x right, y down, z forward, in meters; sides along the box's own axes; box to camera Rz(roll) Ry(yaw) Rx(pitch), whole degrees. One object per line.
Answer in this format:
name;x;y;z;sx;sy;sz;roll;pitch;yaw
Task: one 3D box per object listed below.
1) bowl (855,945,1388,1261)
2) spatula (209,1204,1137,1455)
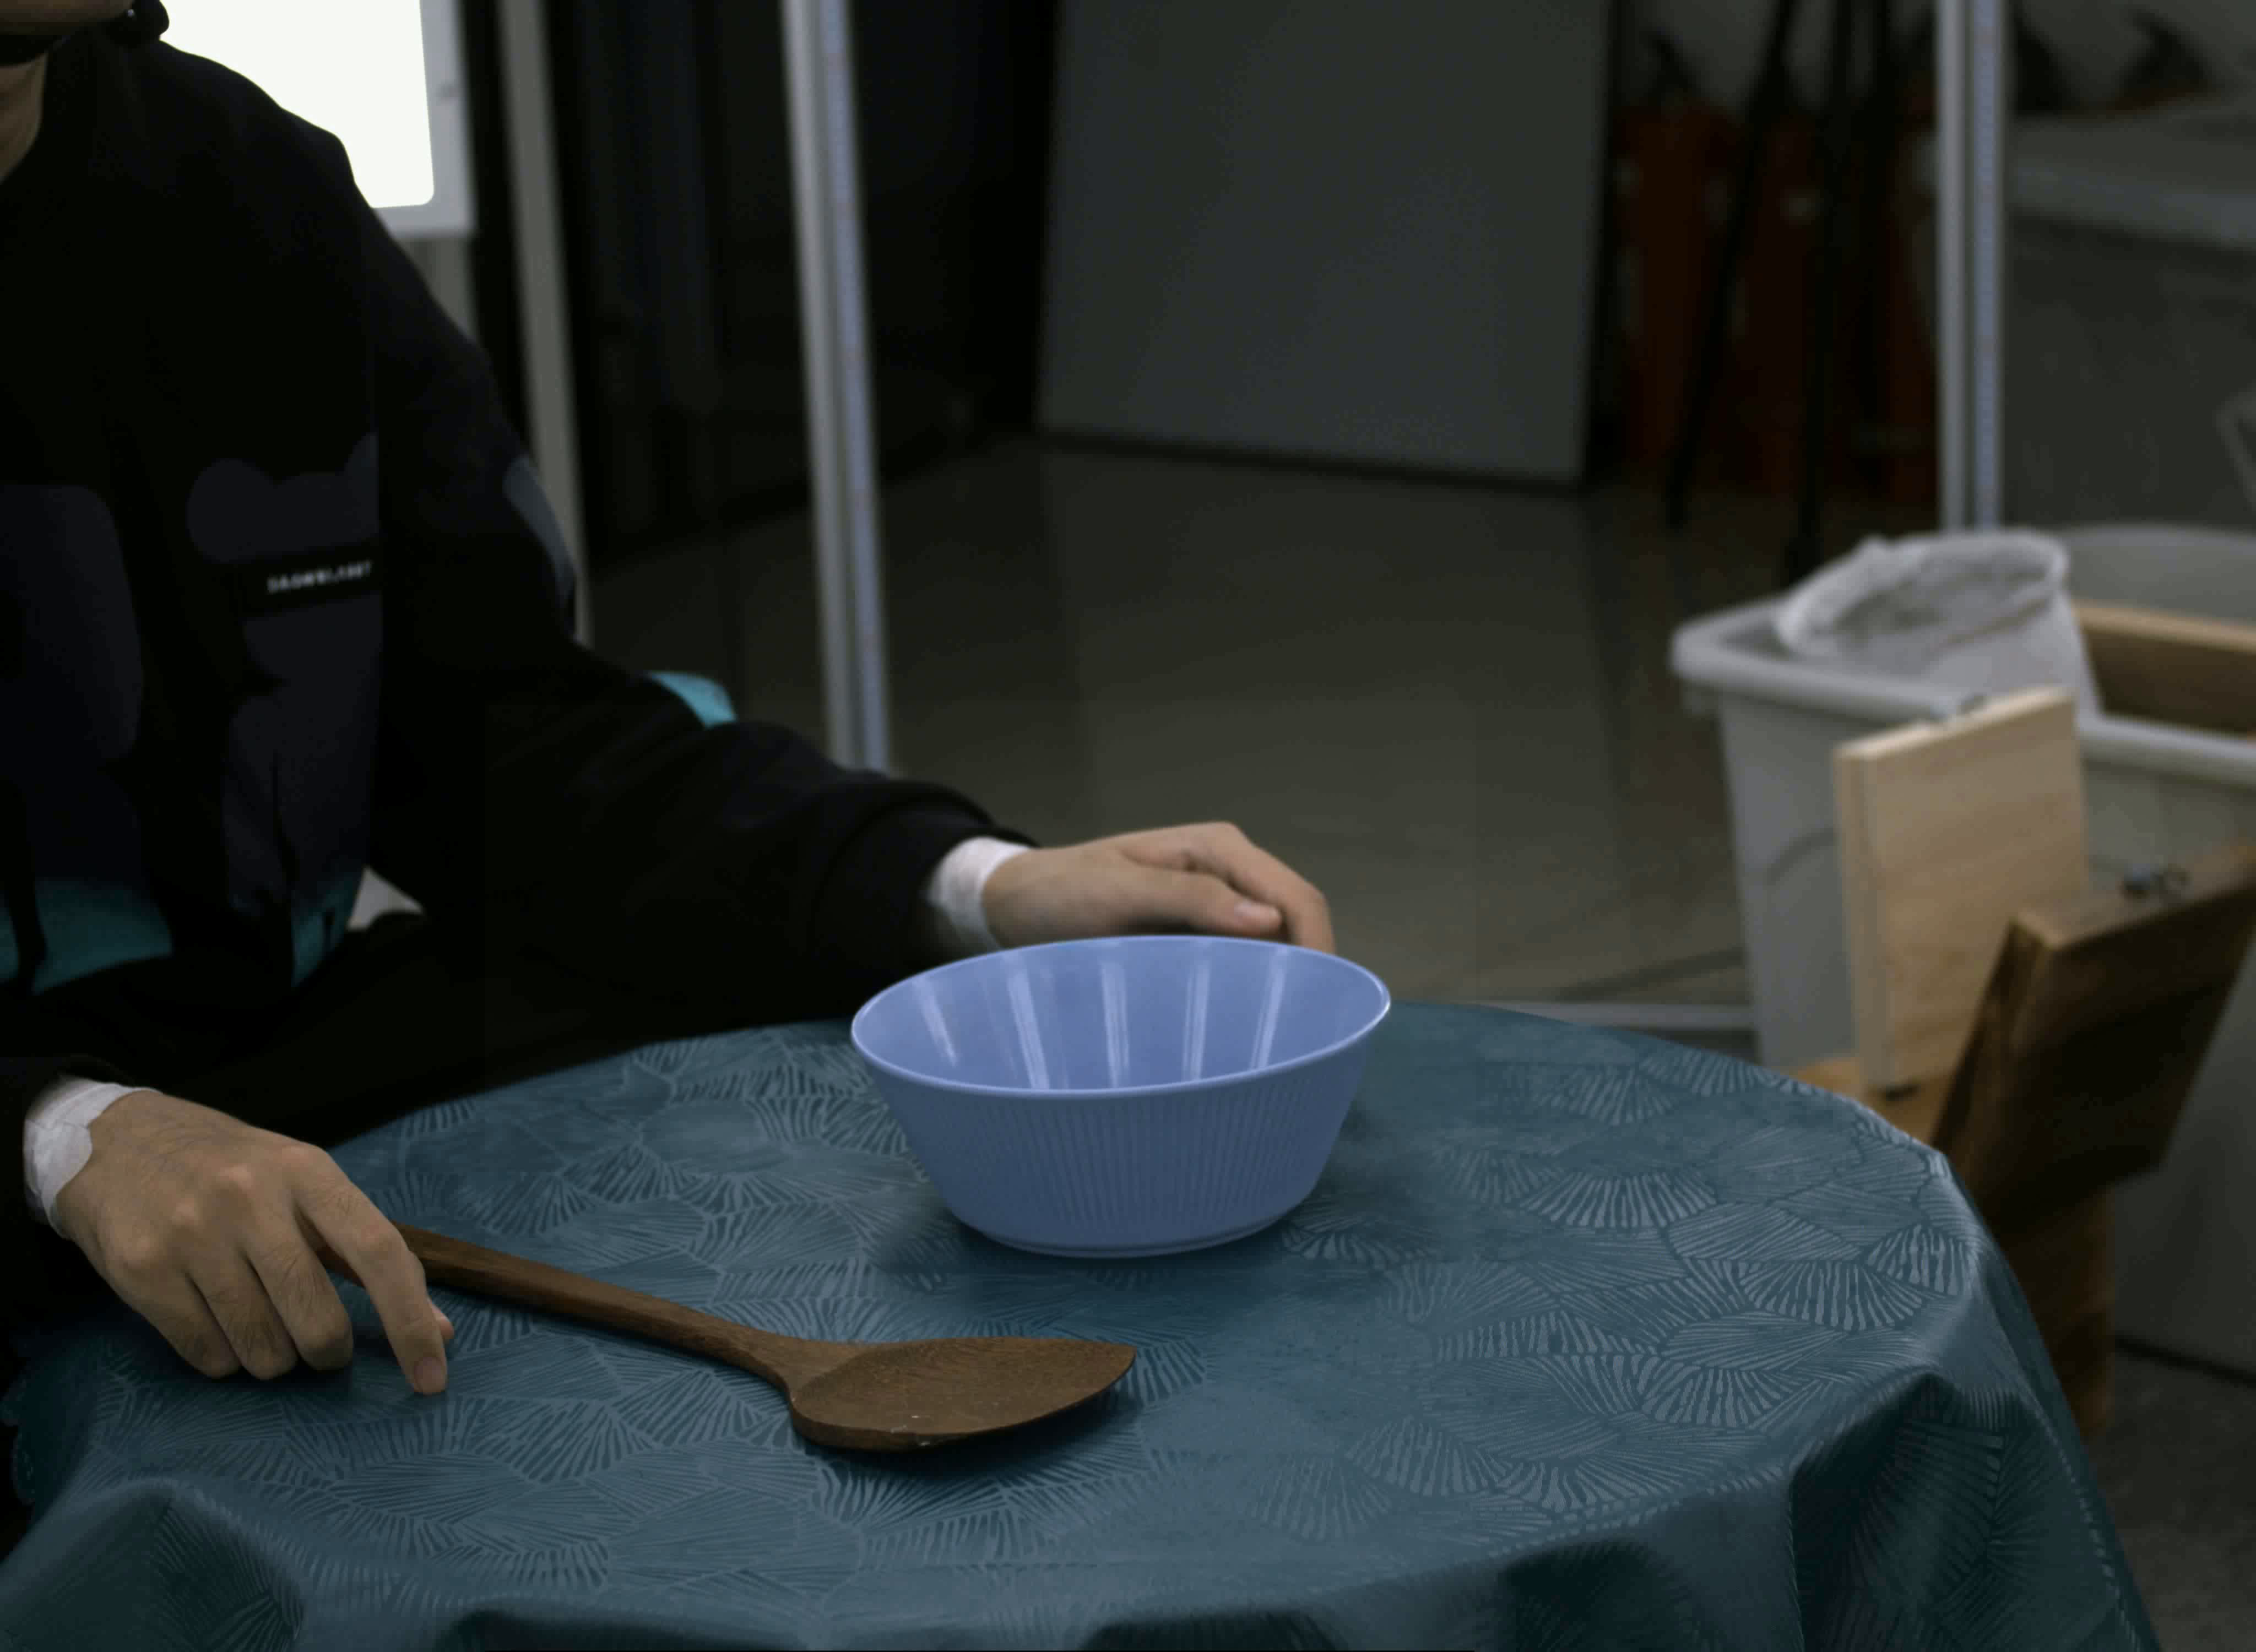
bowl;0.000;0.092;1.746;0.174;0.071;0.176;-5;12;0
spatula;-0.159;0.150;1.672;0.389;0.016;0.094;8;18;42
